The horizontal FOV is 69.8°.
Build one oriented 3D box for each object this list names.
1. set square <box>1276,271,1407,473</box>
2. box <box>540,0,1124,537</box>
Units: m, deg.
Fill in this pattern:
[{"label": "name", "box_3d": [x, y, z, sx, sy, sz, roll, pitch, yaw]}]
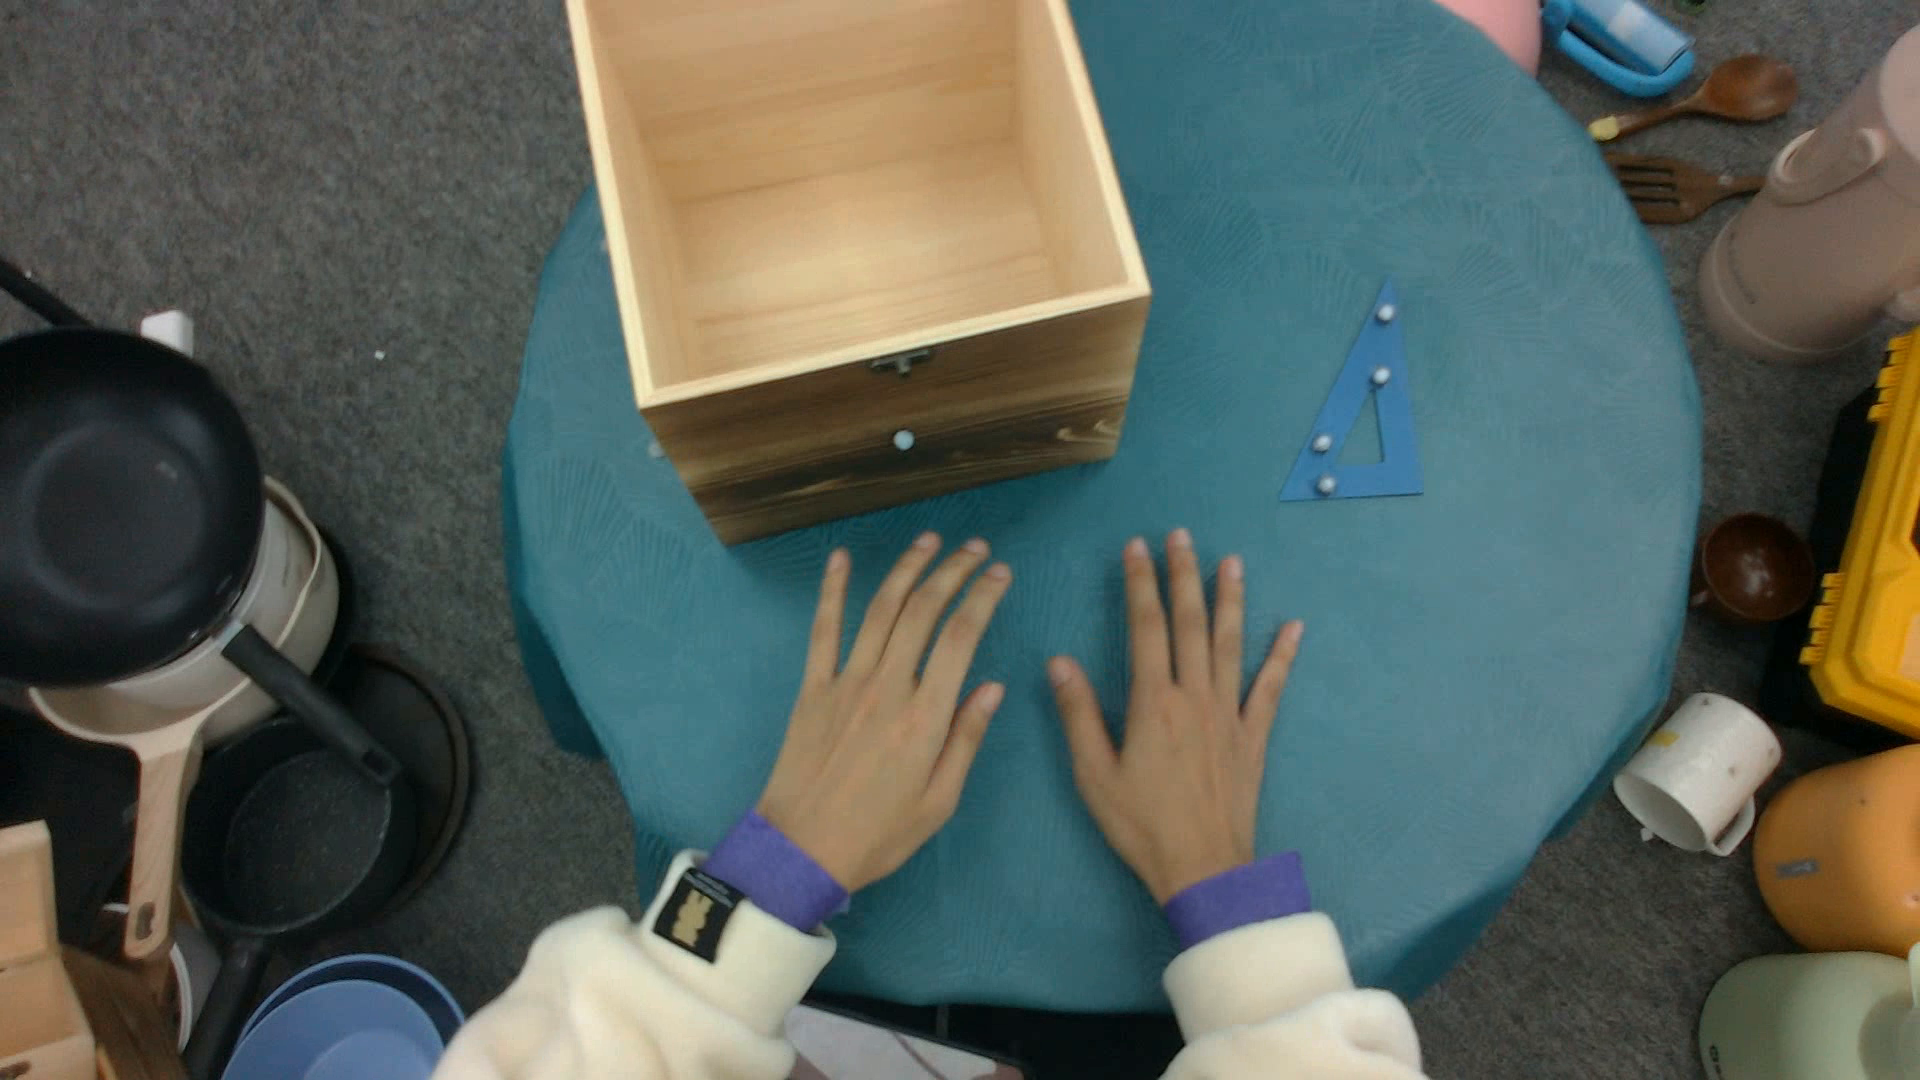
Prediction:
[{"label": "set square", "box_3d": [0.215, -0.078, 0.700, 0.061, 0.006, 0.132, 29, 74, 12]}, {"label": "box", "box_3d": [-0.072, -0.218, 0.565, 0.209, 0.374, 0.323, -14, 71, -3]}]
